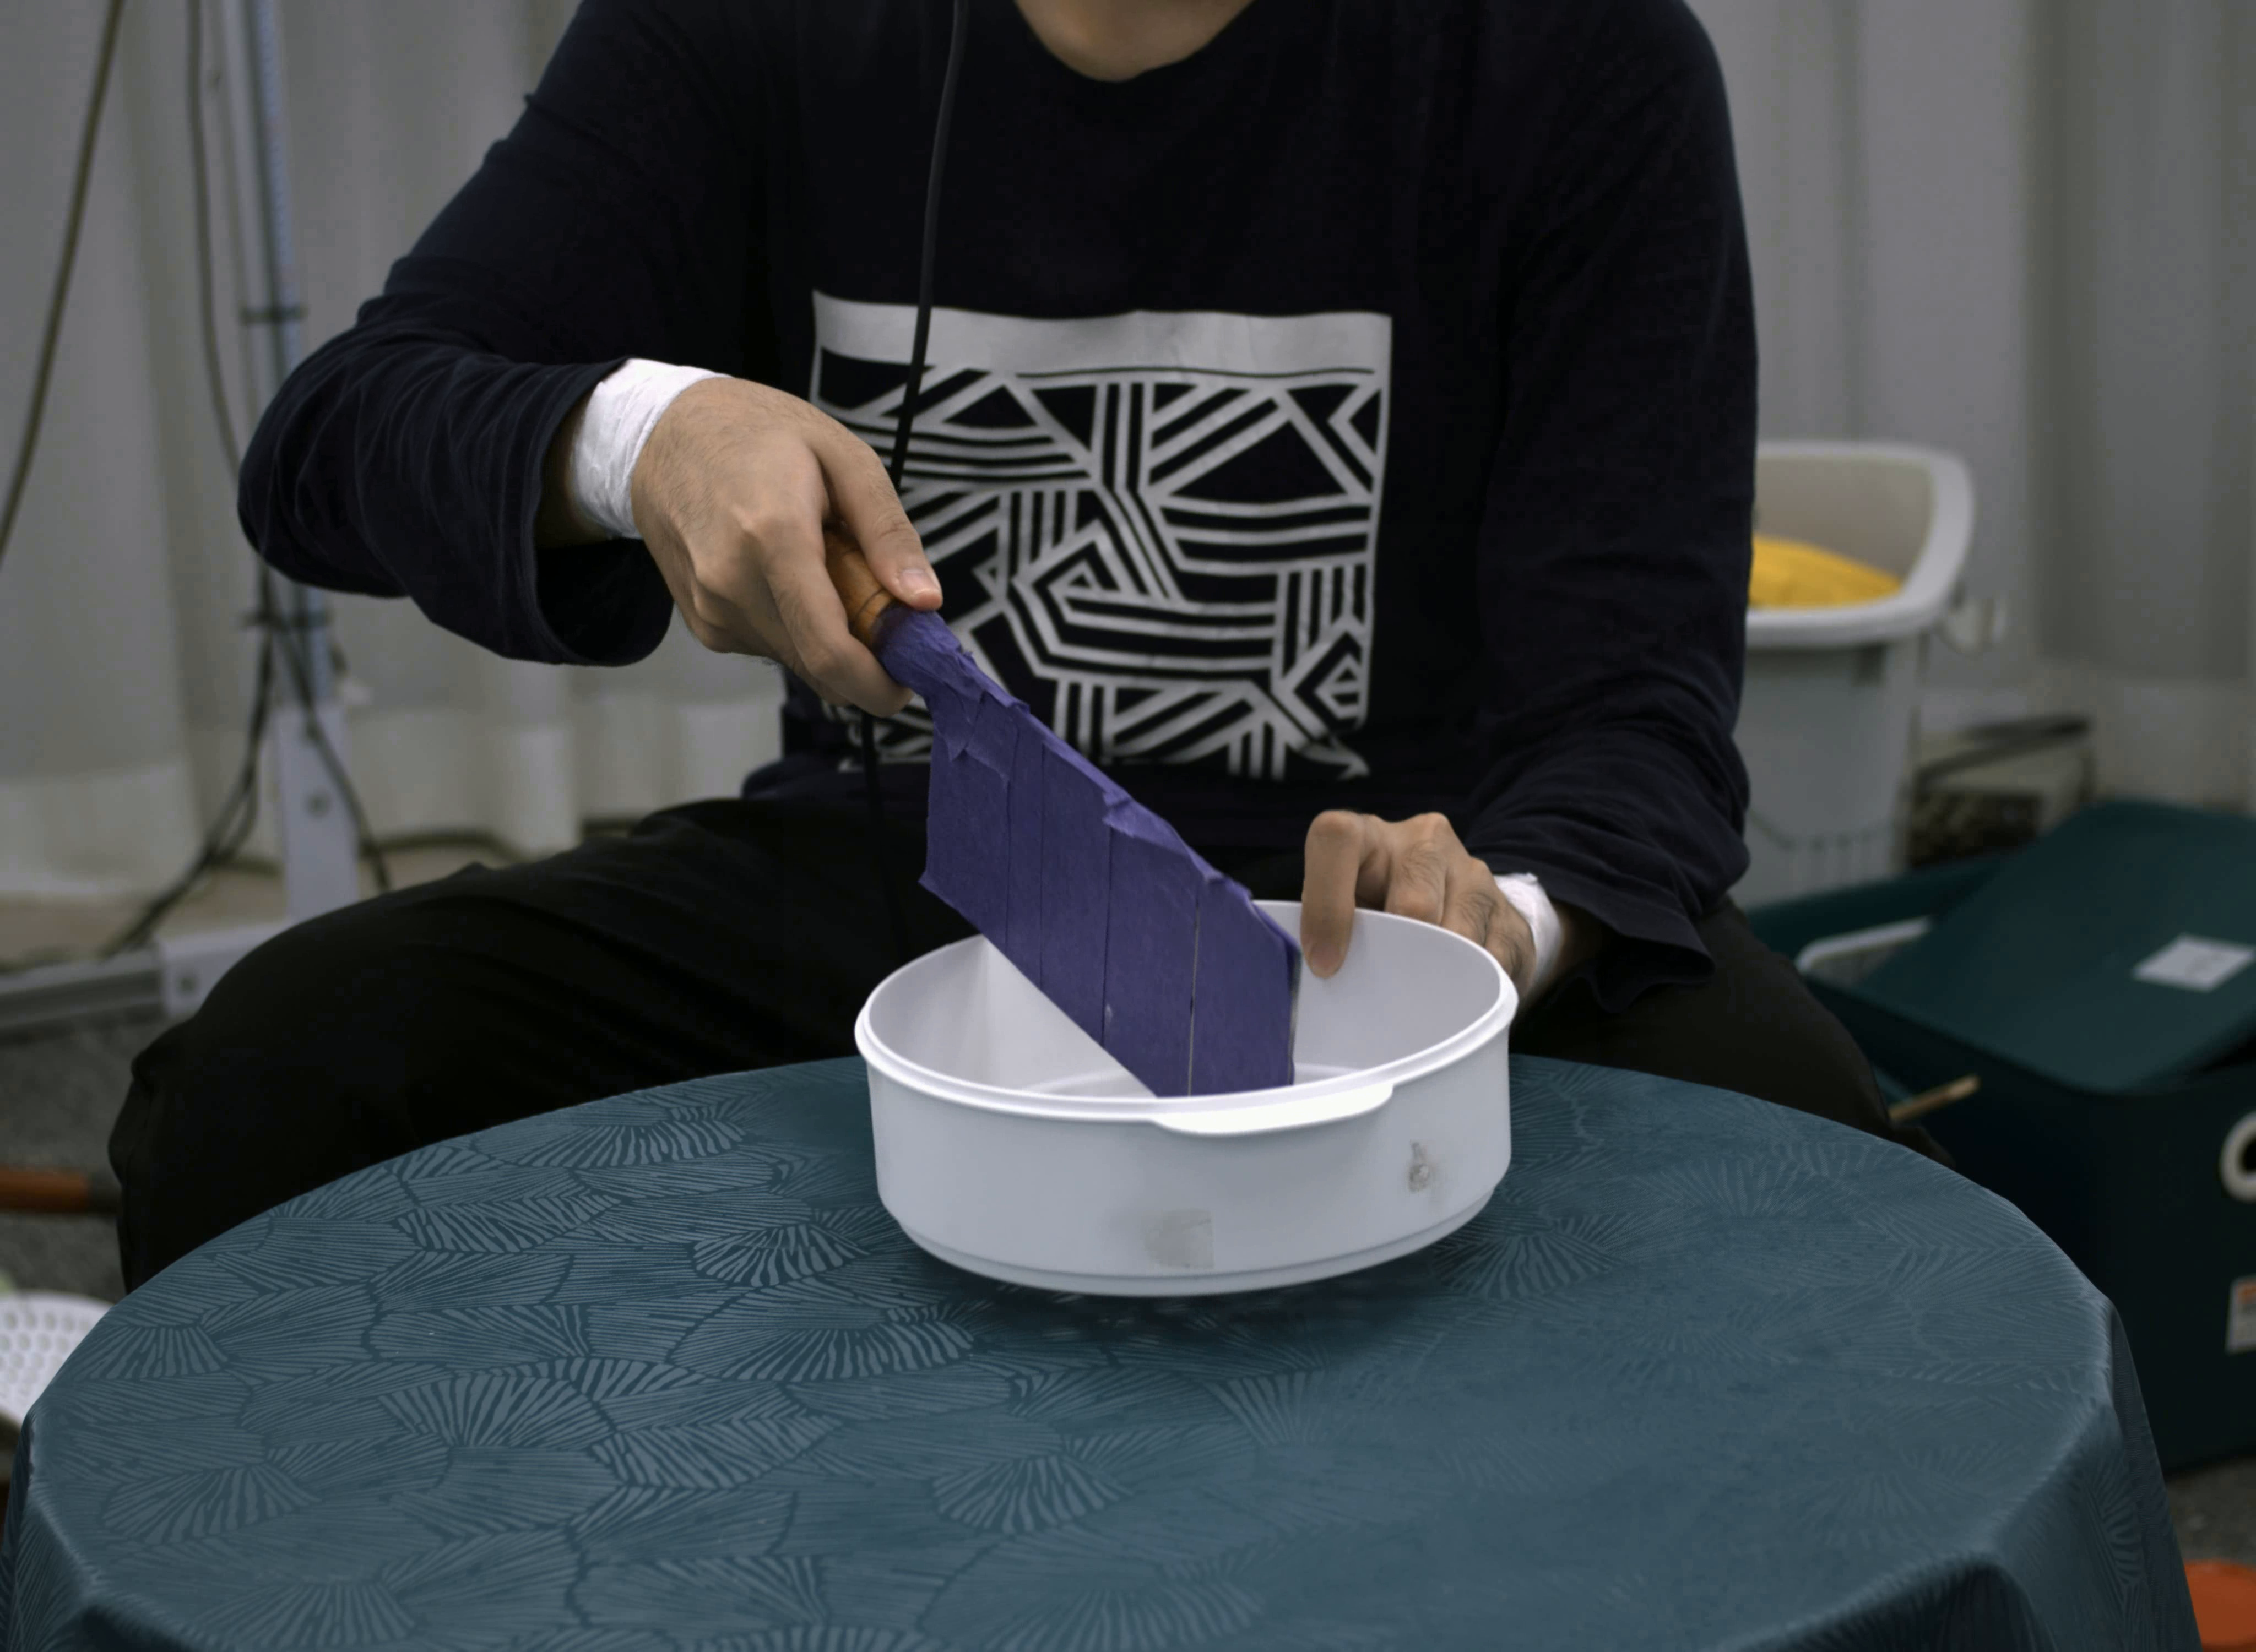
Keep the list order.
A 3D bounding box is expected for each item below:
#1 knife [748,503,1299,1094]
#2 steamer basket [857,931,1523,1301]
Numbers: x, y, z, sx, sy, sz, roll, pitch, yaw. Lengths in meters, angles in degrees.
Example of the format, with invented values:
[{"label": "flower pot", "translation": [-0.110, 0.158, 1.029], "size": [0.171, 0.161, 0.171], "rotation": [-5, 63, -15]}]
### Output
[{"label": "knife", "translation": [-0.037, 0.003, 1.688], "size": [0.032, 0.103, 0.319], "rotation": [-10, 32, -29]}, {"label": "steamer basket", "translation": [0.020, 0.087, 1.654], "size": [0.201, 0.069, 0.232], "rotation": [-6, 13, -13]}]
